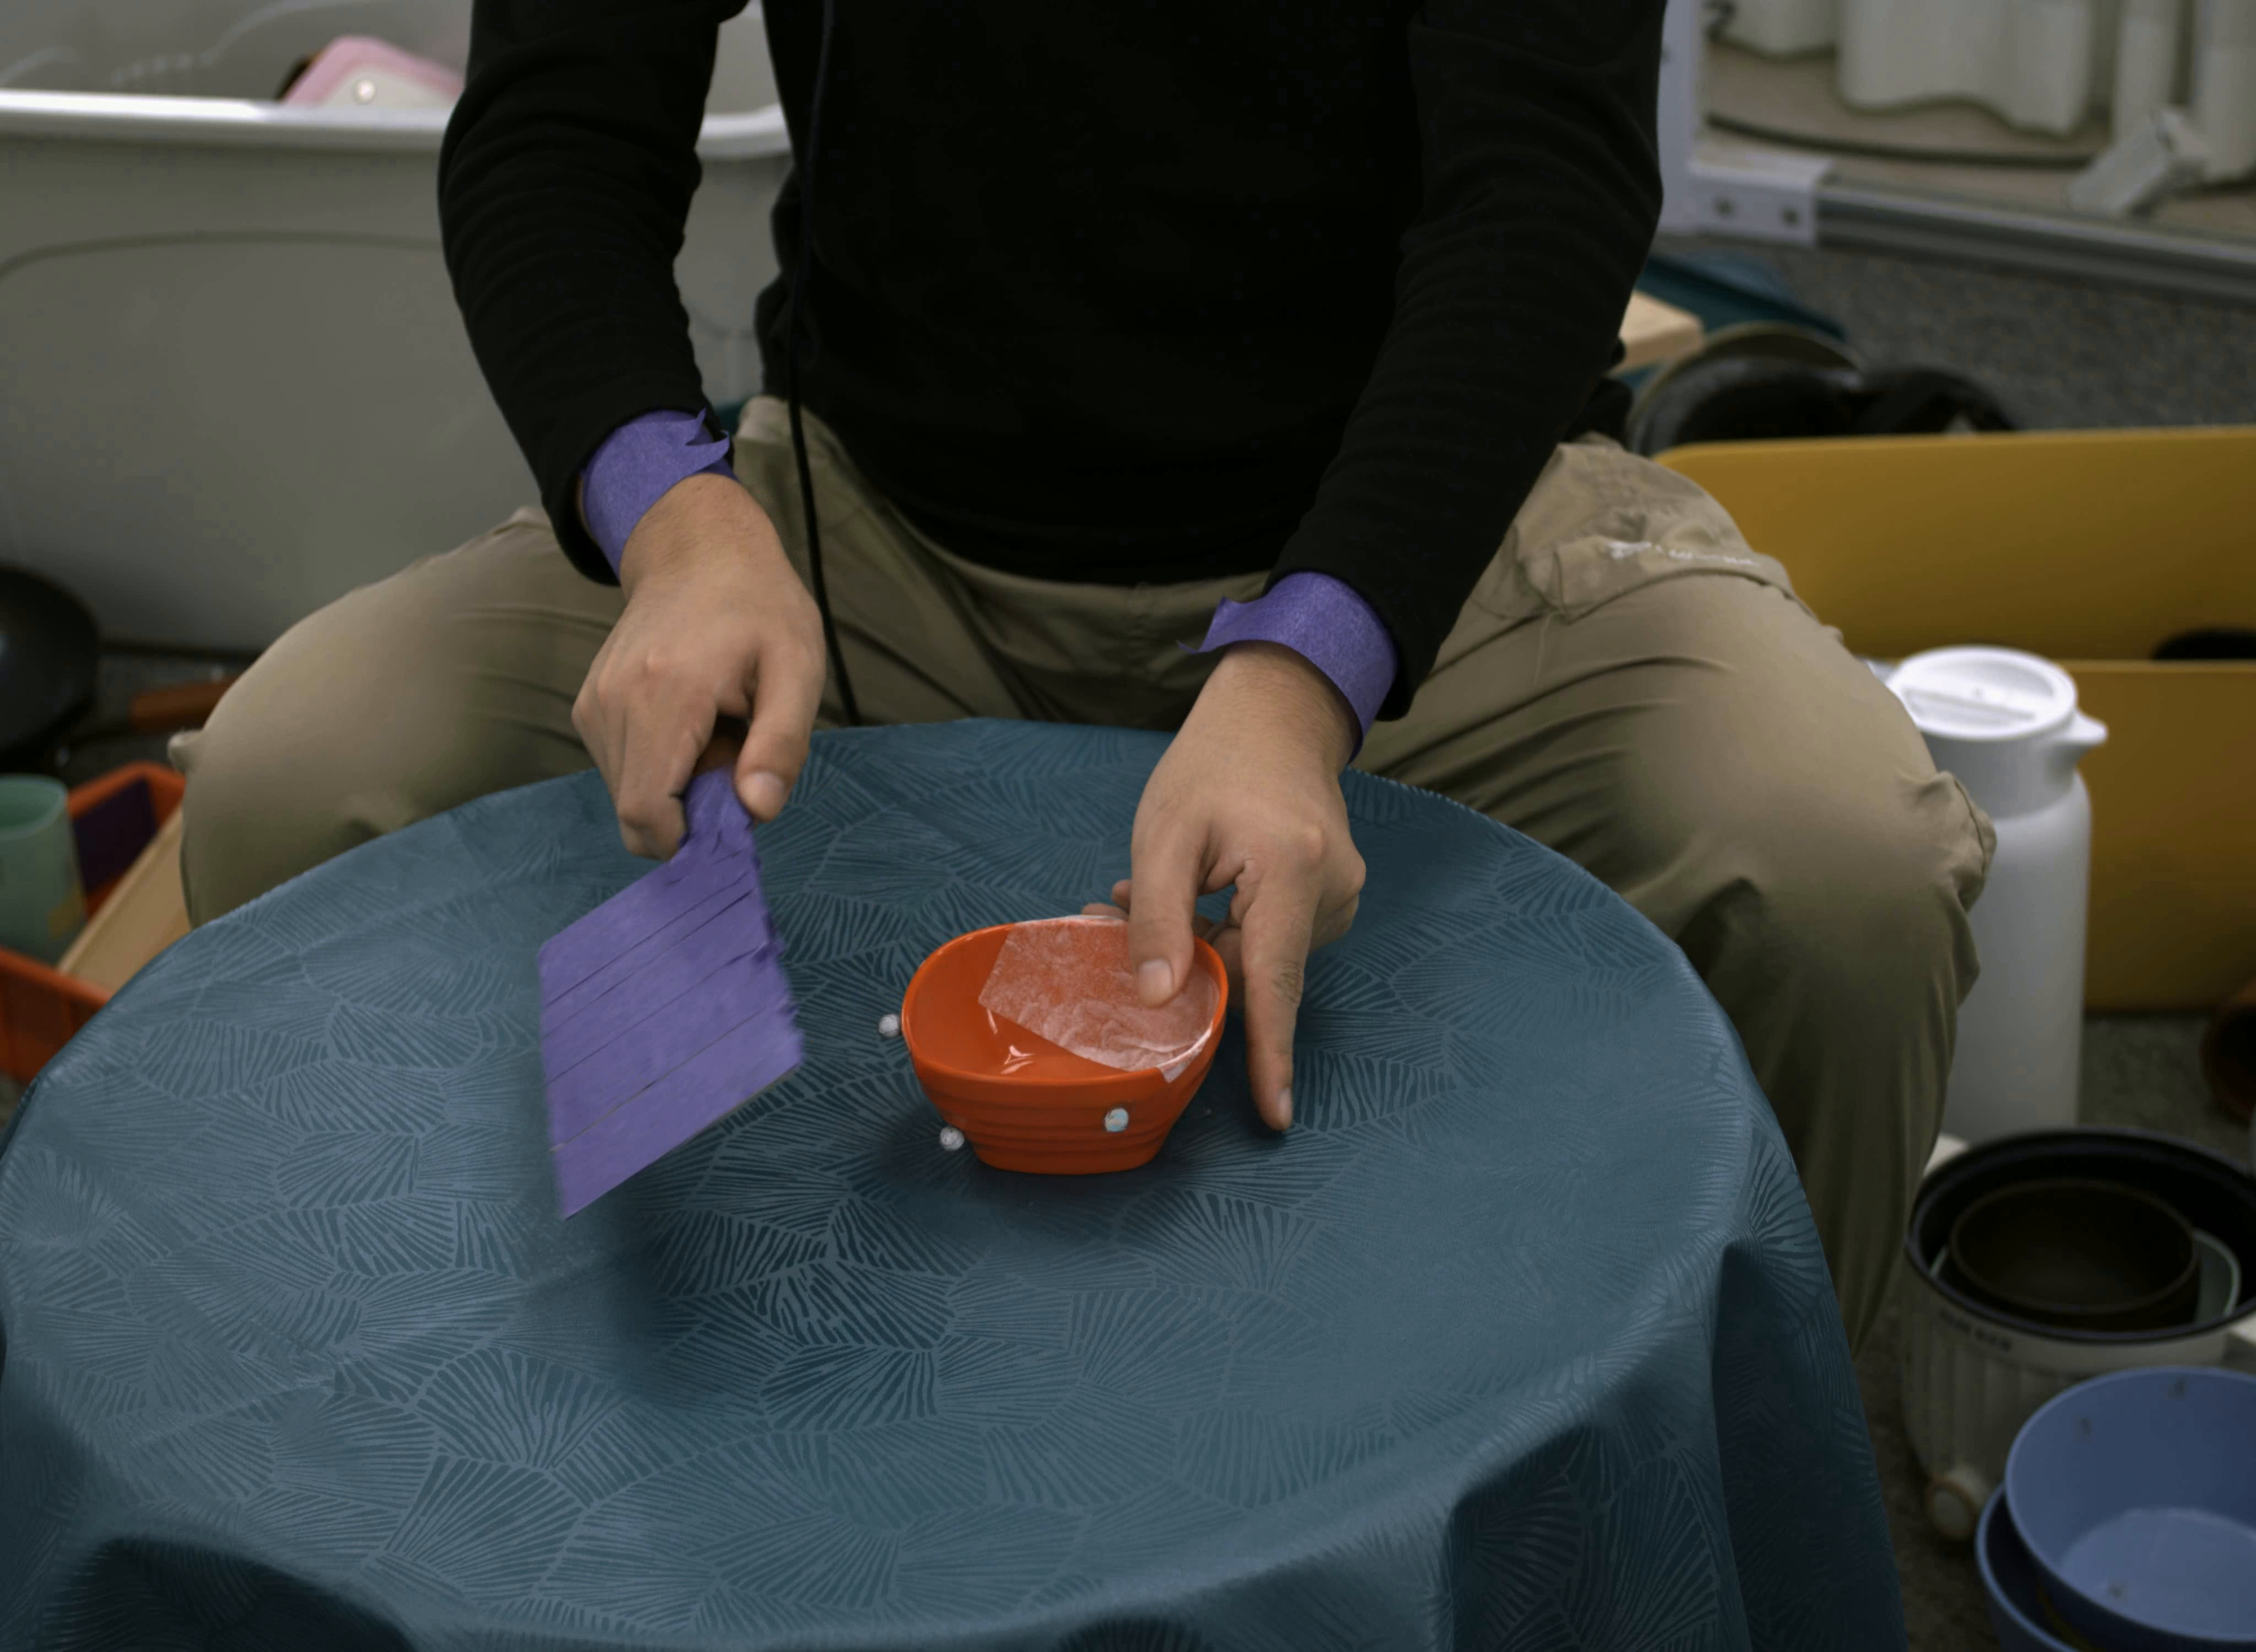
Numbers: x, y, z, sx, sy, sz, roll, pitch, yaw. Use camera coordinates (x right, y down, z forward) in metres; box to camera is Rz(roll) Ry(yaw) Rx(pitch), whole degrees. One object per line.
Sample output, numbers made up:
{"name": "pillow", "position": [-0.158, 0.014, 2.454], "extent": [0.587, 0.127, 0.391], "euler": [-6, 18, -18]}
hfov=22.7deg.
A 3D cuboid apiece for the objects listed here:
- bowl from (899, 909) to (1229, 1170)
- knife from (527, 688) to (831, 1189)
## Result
{"name": "bowl", "position": [-0.020, 0.076, 1.887], "extent": [0.118, 0.051, 0.121], "euler": [-2, 29, 2]}
{"name": "knife", "position": [-0.160, 0.034, 1.899], "extent": [0.103, 0.032, 0.318], "euler": [-32, 21, 4]}
